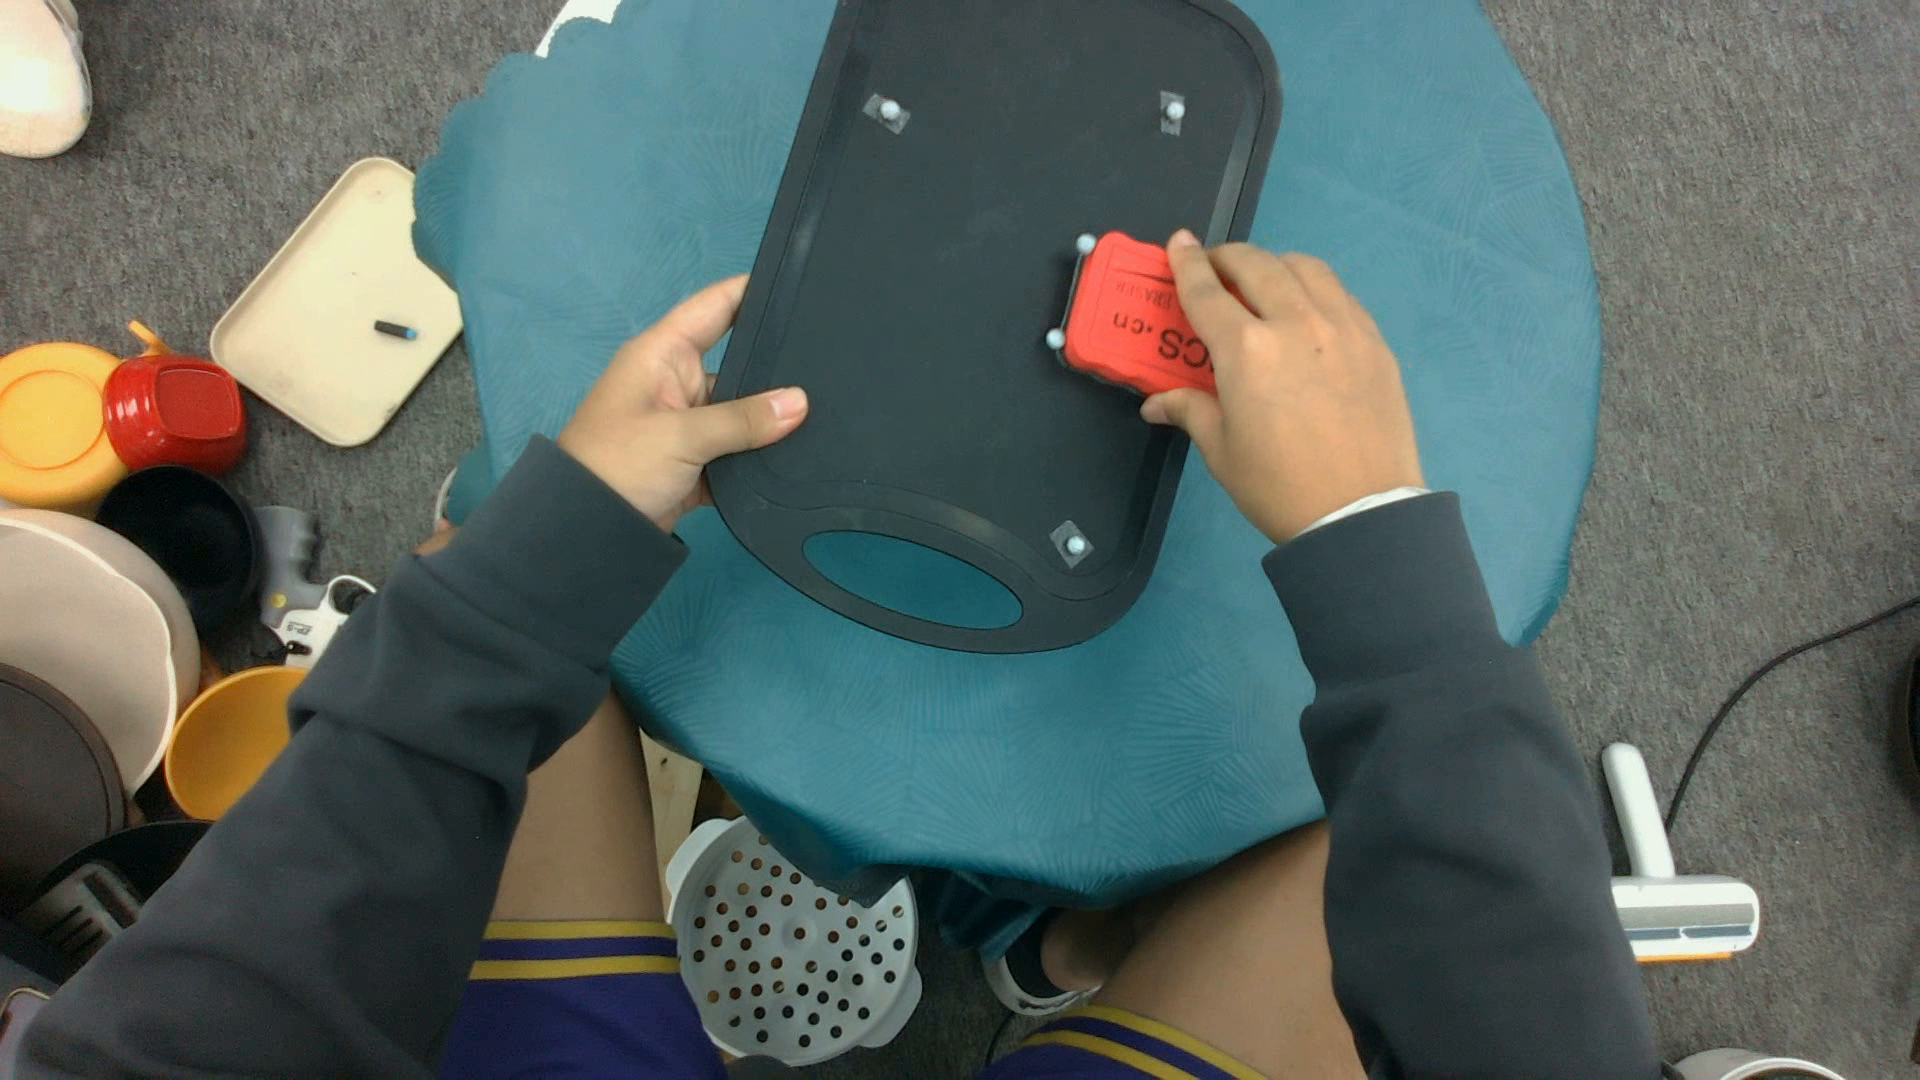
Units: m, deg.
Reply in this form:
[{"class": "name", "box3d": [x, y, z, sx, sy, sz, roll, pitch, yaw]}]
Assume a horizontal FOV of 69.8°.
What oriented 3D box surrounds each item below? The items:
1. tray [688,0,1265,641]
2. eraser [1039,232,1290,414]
[{"class": "tray", "box3d": [0.015, -0.119, 0.597, 0.211, 0.010, 0.326, 19, 81, -18]}, {"class": "eraser", "box3d": [0.091, -0.094, 0.608, 0.108, 0.023, 0.059, 13, 83, -17]}]
